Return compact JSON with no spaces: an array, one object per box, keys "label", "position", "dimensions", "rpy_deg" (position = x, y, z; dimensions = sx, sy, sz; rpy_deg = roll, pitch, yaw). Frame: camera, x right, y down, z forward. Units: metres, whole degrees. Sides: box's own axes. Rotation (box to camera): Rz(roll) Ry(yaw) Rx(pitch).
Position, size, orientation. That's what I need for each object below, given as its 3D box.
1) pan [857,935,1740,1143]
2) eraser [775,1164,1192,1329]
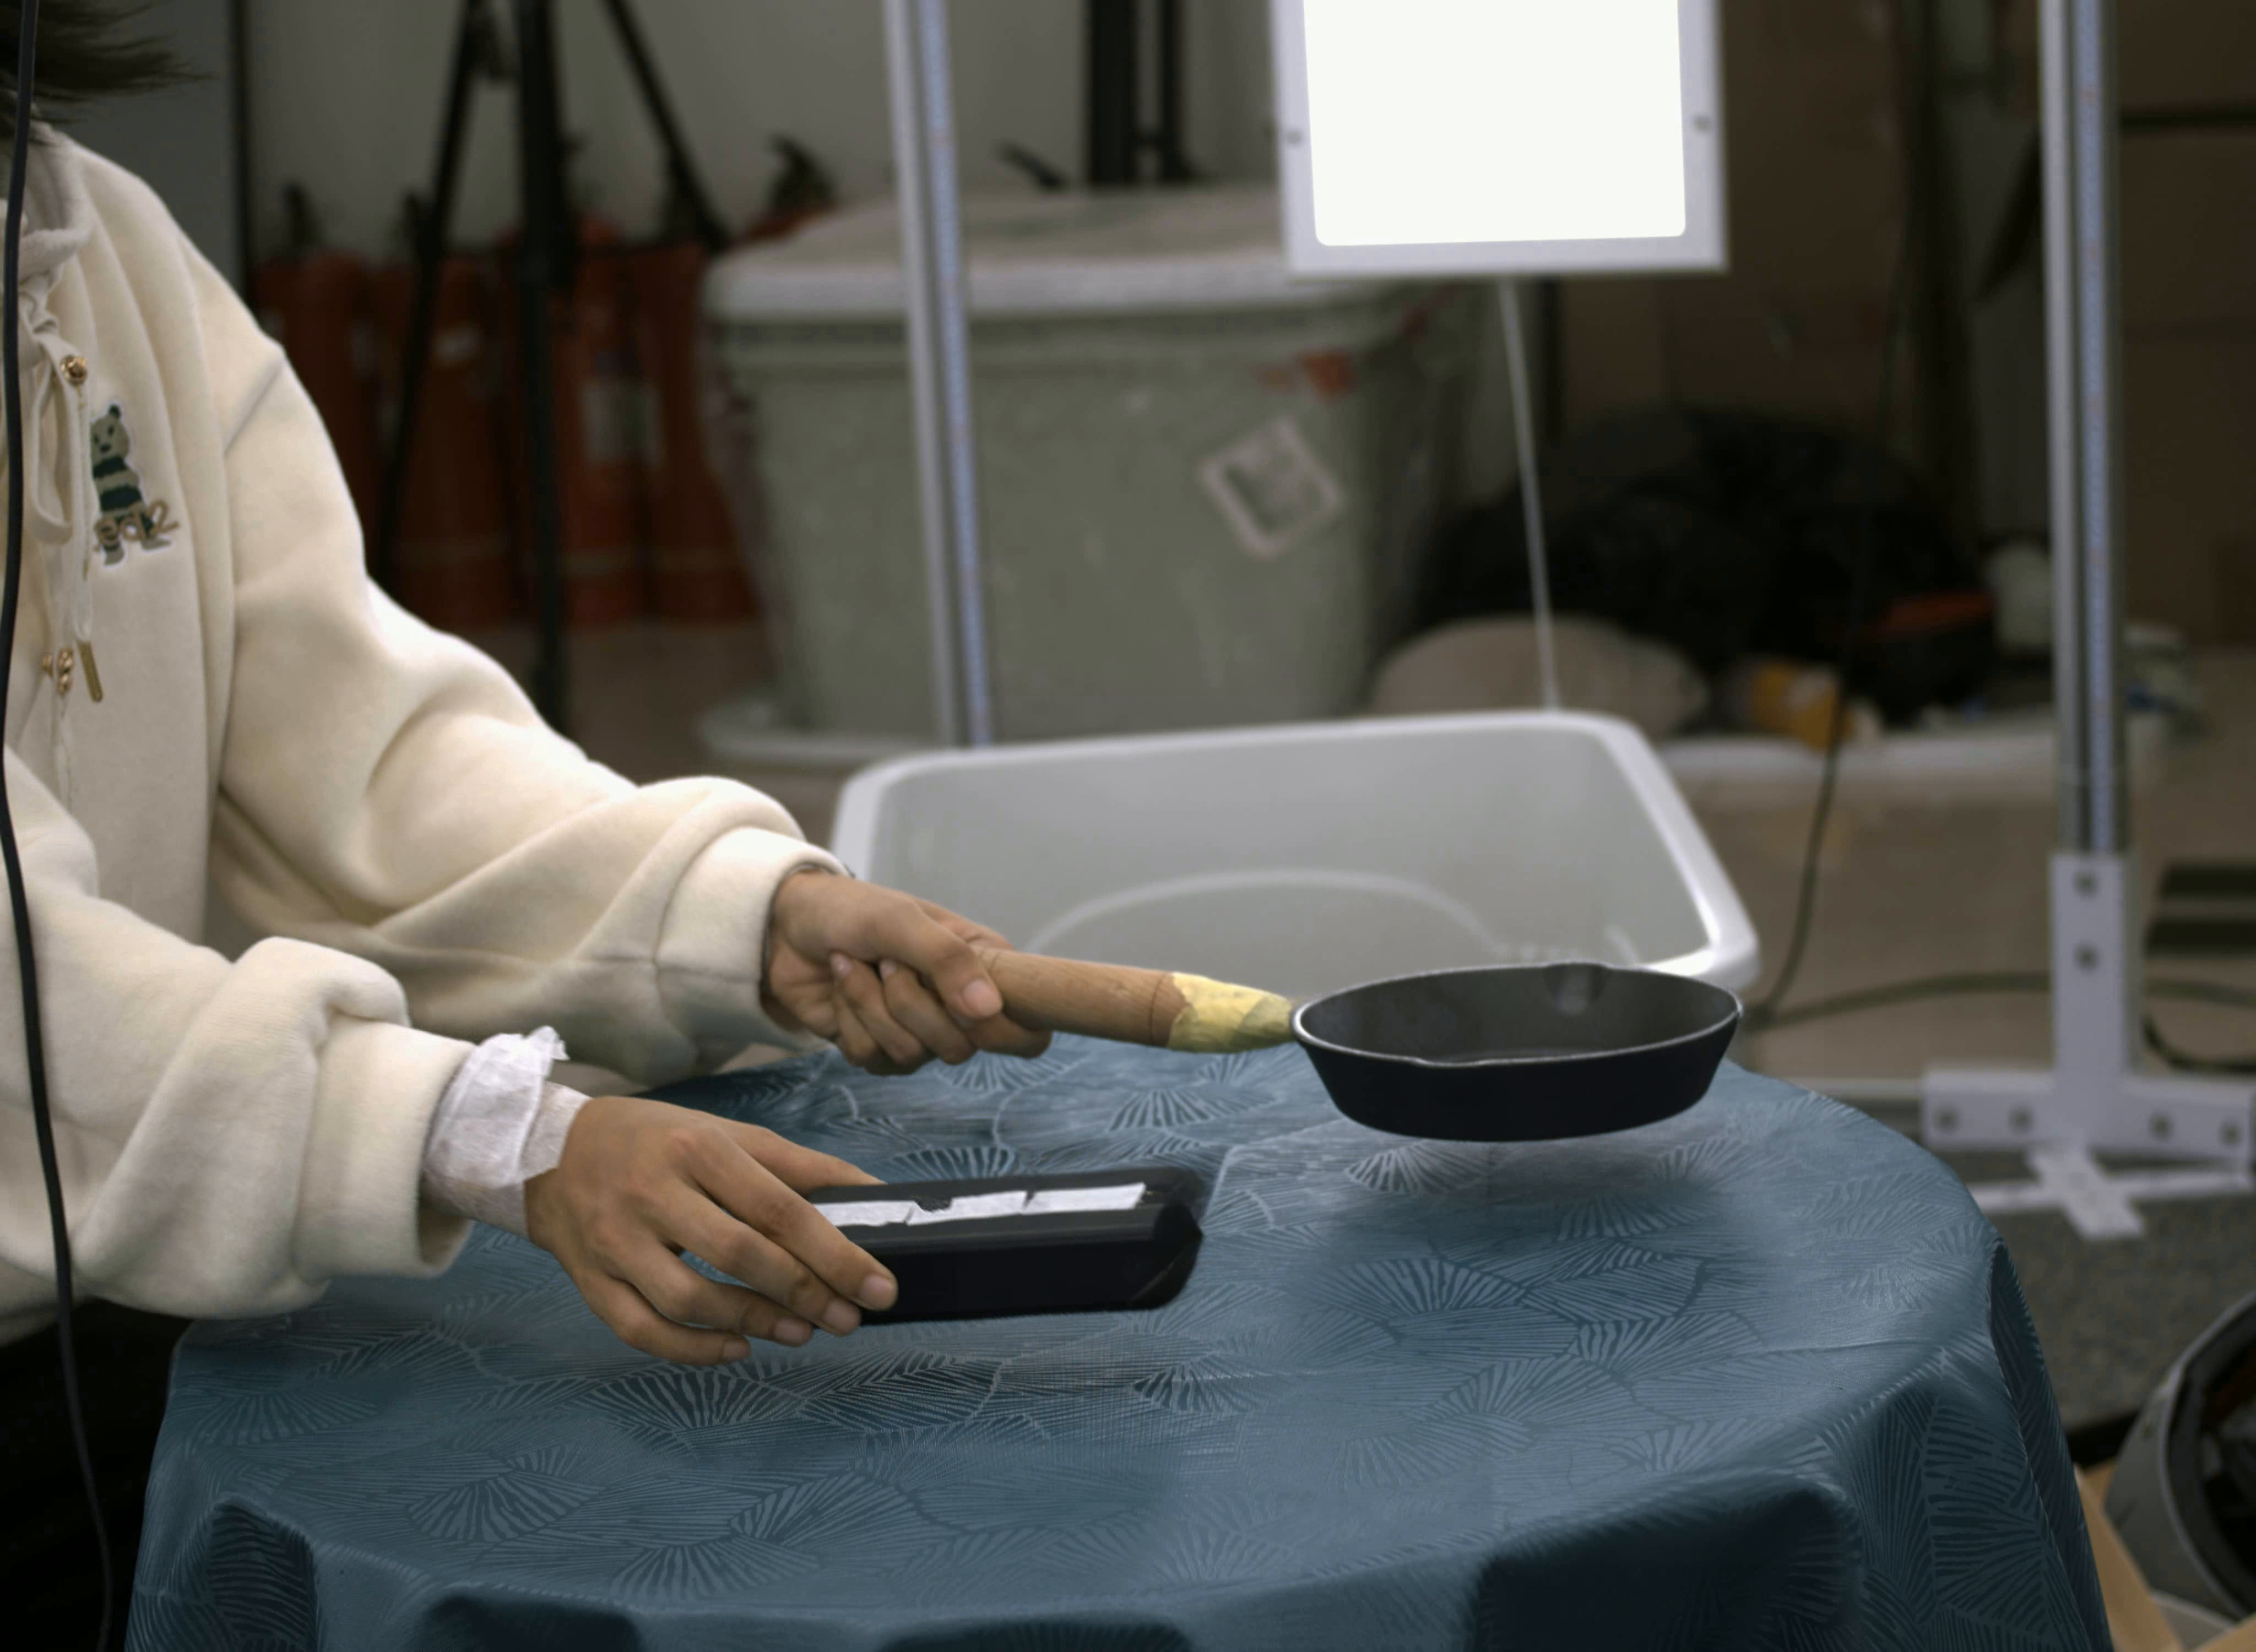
[{"label":"pan","position":[0.055,0.068,1.920],"dimensions":[0.329,0.050,0.165],"rpy_deg":[2,13,25]},{"label":"eraser","position":[-0.044,0.131,1.718],"dimensions":[0.127,0.030,0.053],"rpy_deg":[-5,20,17]}]
